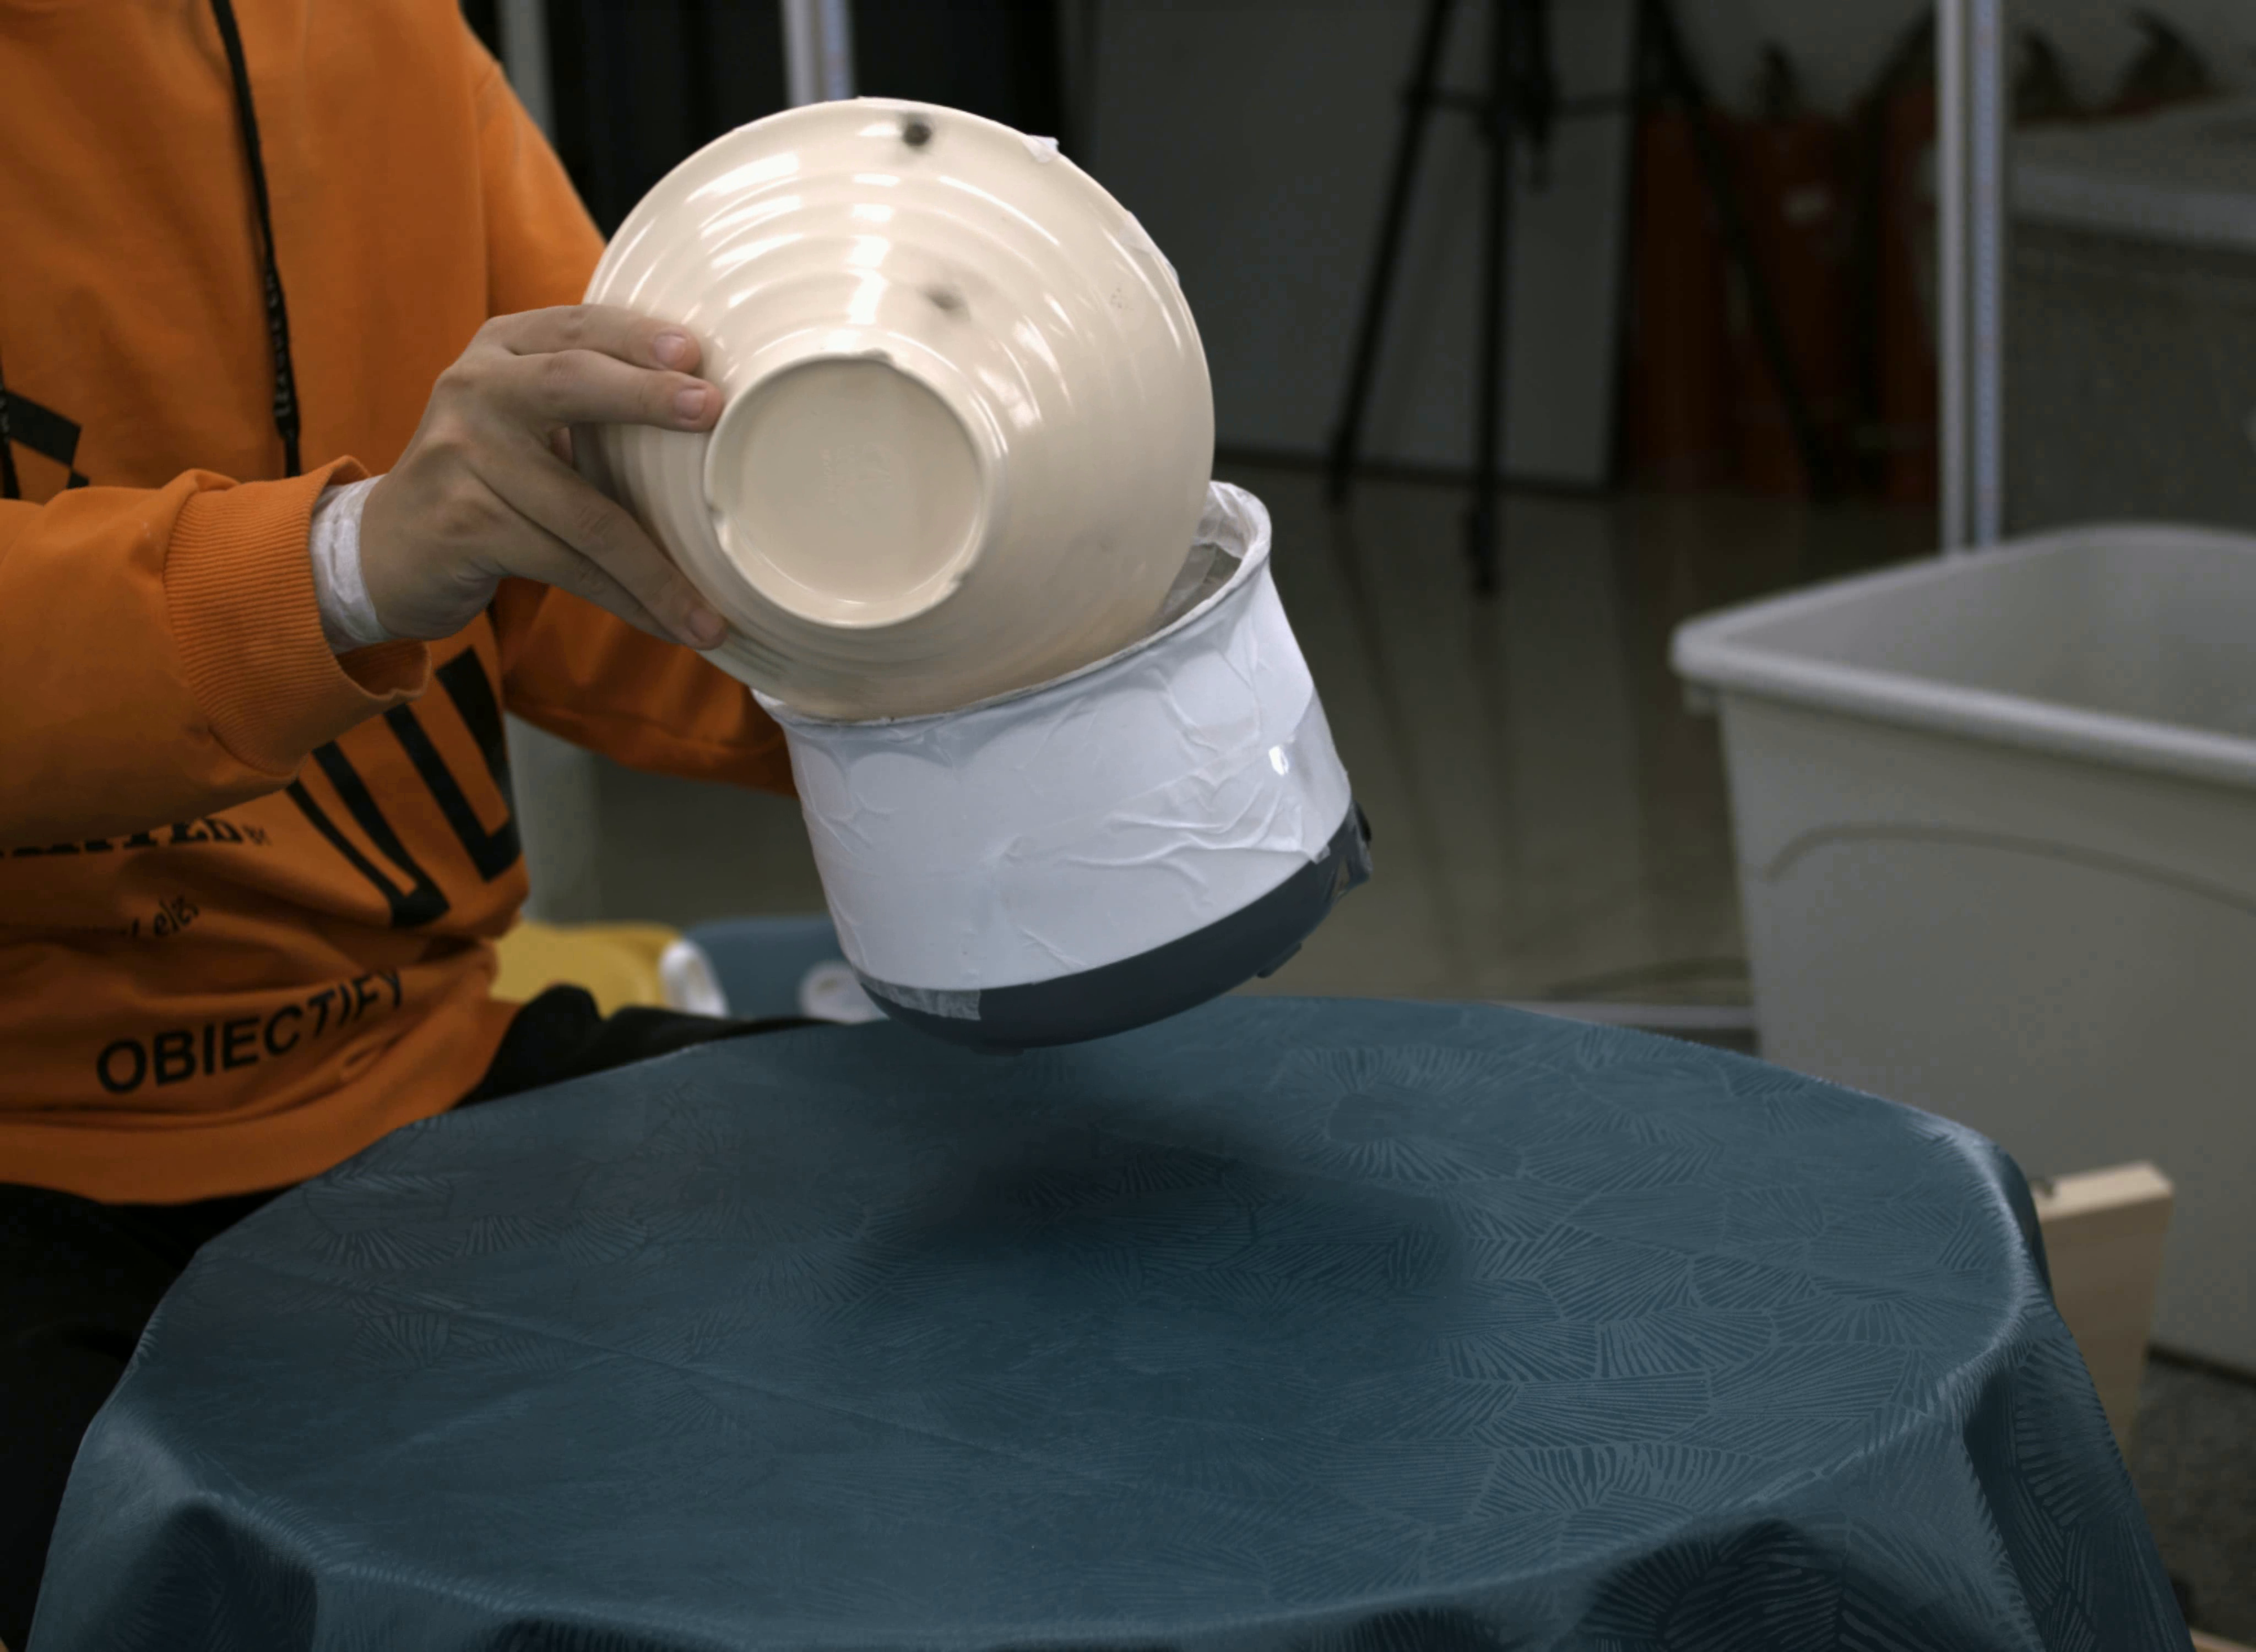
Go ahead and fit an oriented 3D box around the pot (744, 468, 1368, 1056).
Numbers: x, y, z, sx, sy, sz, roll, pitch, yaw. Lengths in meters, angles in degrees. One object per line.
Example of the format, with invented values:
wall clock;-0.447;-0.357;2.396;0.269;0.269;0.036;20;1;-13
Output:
pot;-0.025;-0.030;1.772;0.177;0.137;0.235;-18;22;-1

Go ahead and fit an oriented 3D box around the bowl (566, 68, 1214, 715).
bowl;-0.076;-0.118;1.624;0.202;0.206;0.078;-2;18;8
